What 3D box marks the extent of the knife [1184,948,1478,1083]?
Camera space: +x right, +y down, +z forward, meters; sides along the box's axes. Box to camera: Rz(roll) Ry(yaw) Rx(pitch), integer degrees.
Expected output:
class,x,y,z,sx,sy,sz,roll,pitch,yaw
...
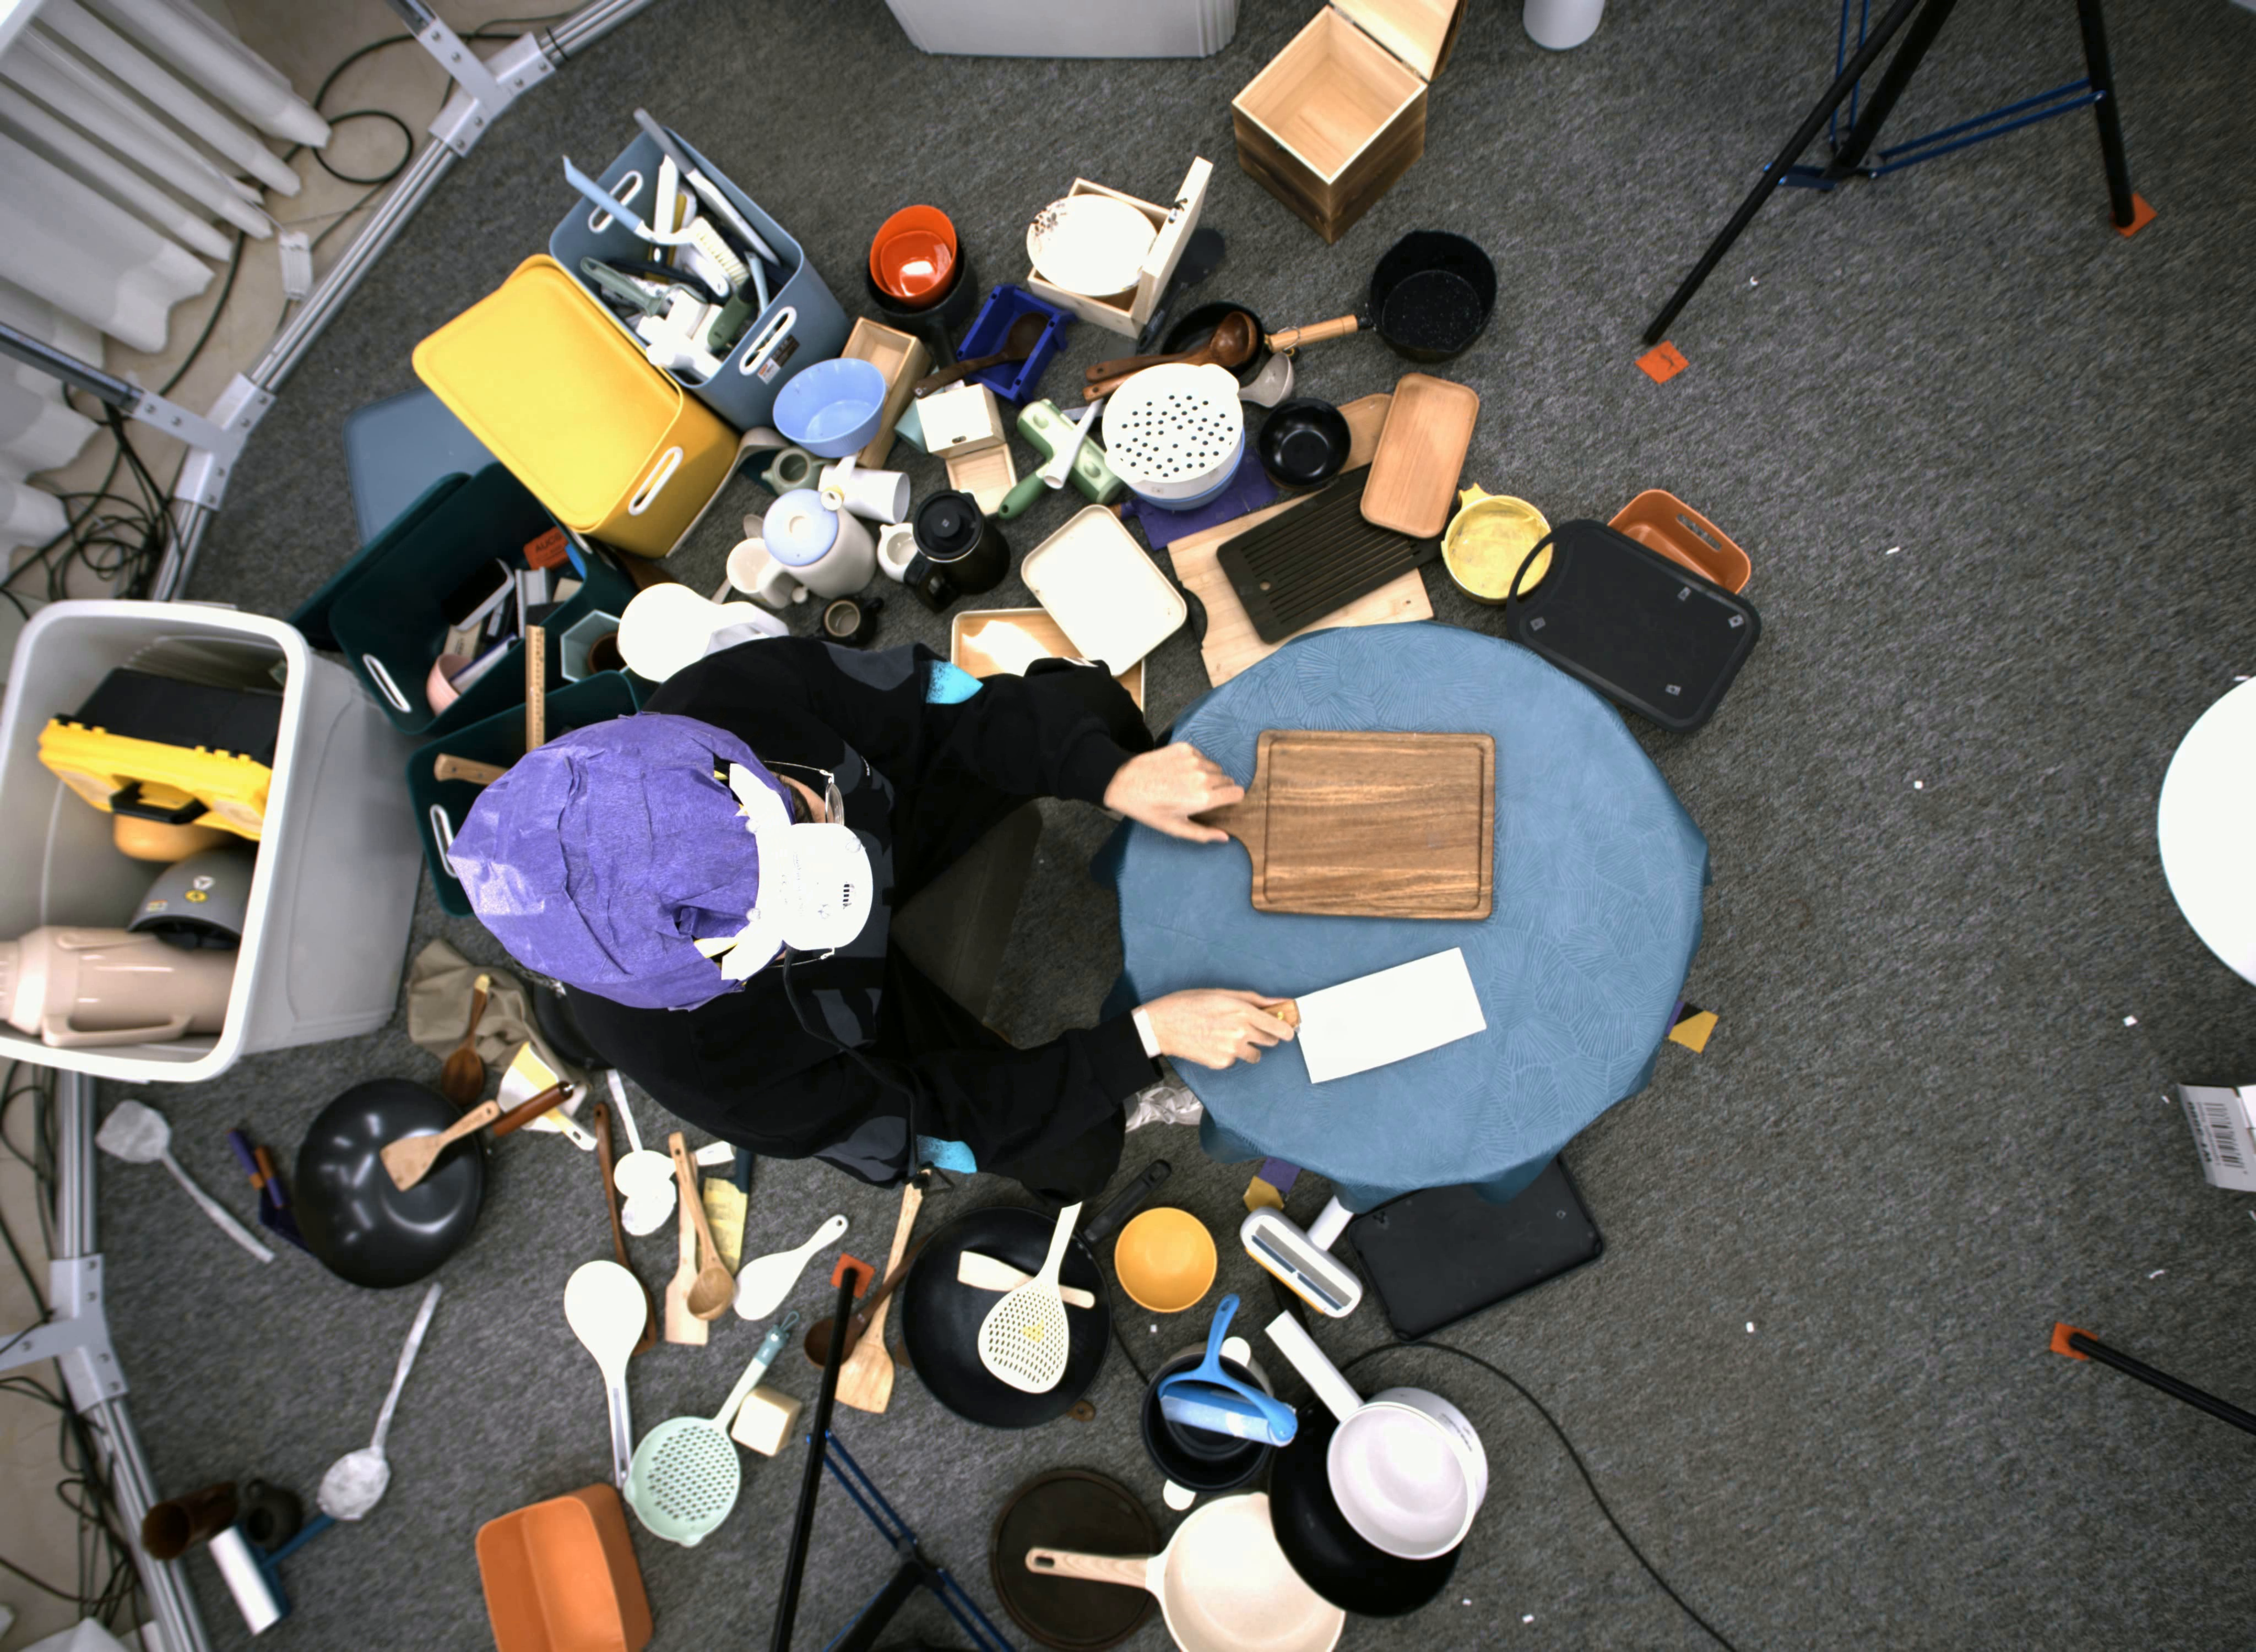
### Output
class,x,y,z,sx,sy,sz,roll,pitch,yaw
knife,0.214,0.213,1.445,0.306,0.021,0.092,-18,85,3

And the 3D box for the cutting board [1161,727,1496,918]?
class,x,y,z,sx,sy,sz,roll,pitch,yaw
cutting board,0.210,-0.007,1.464,0.353,0.023,0.200,2,87,10
